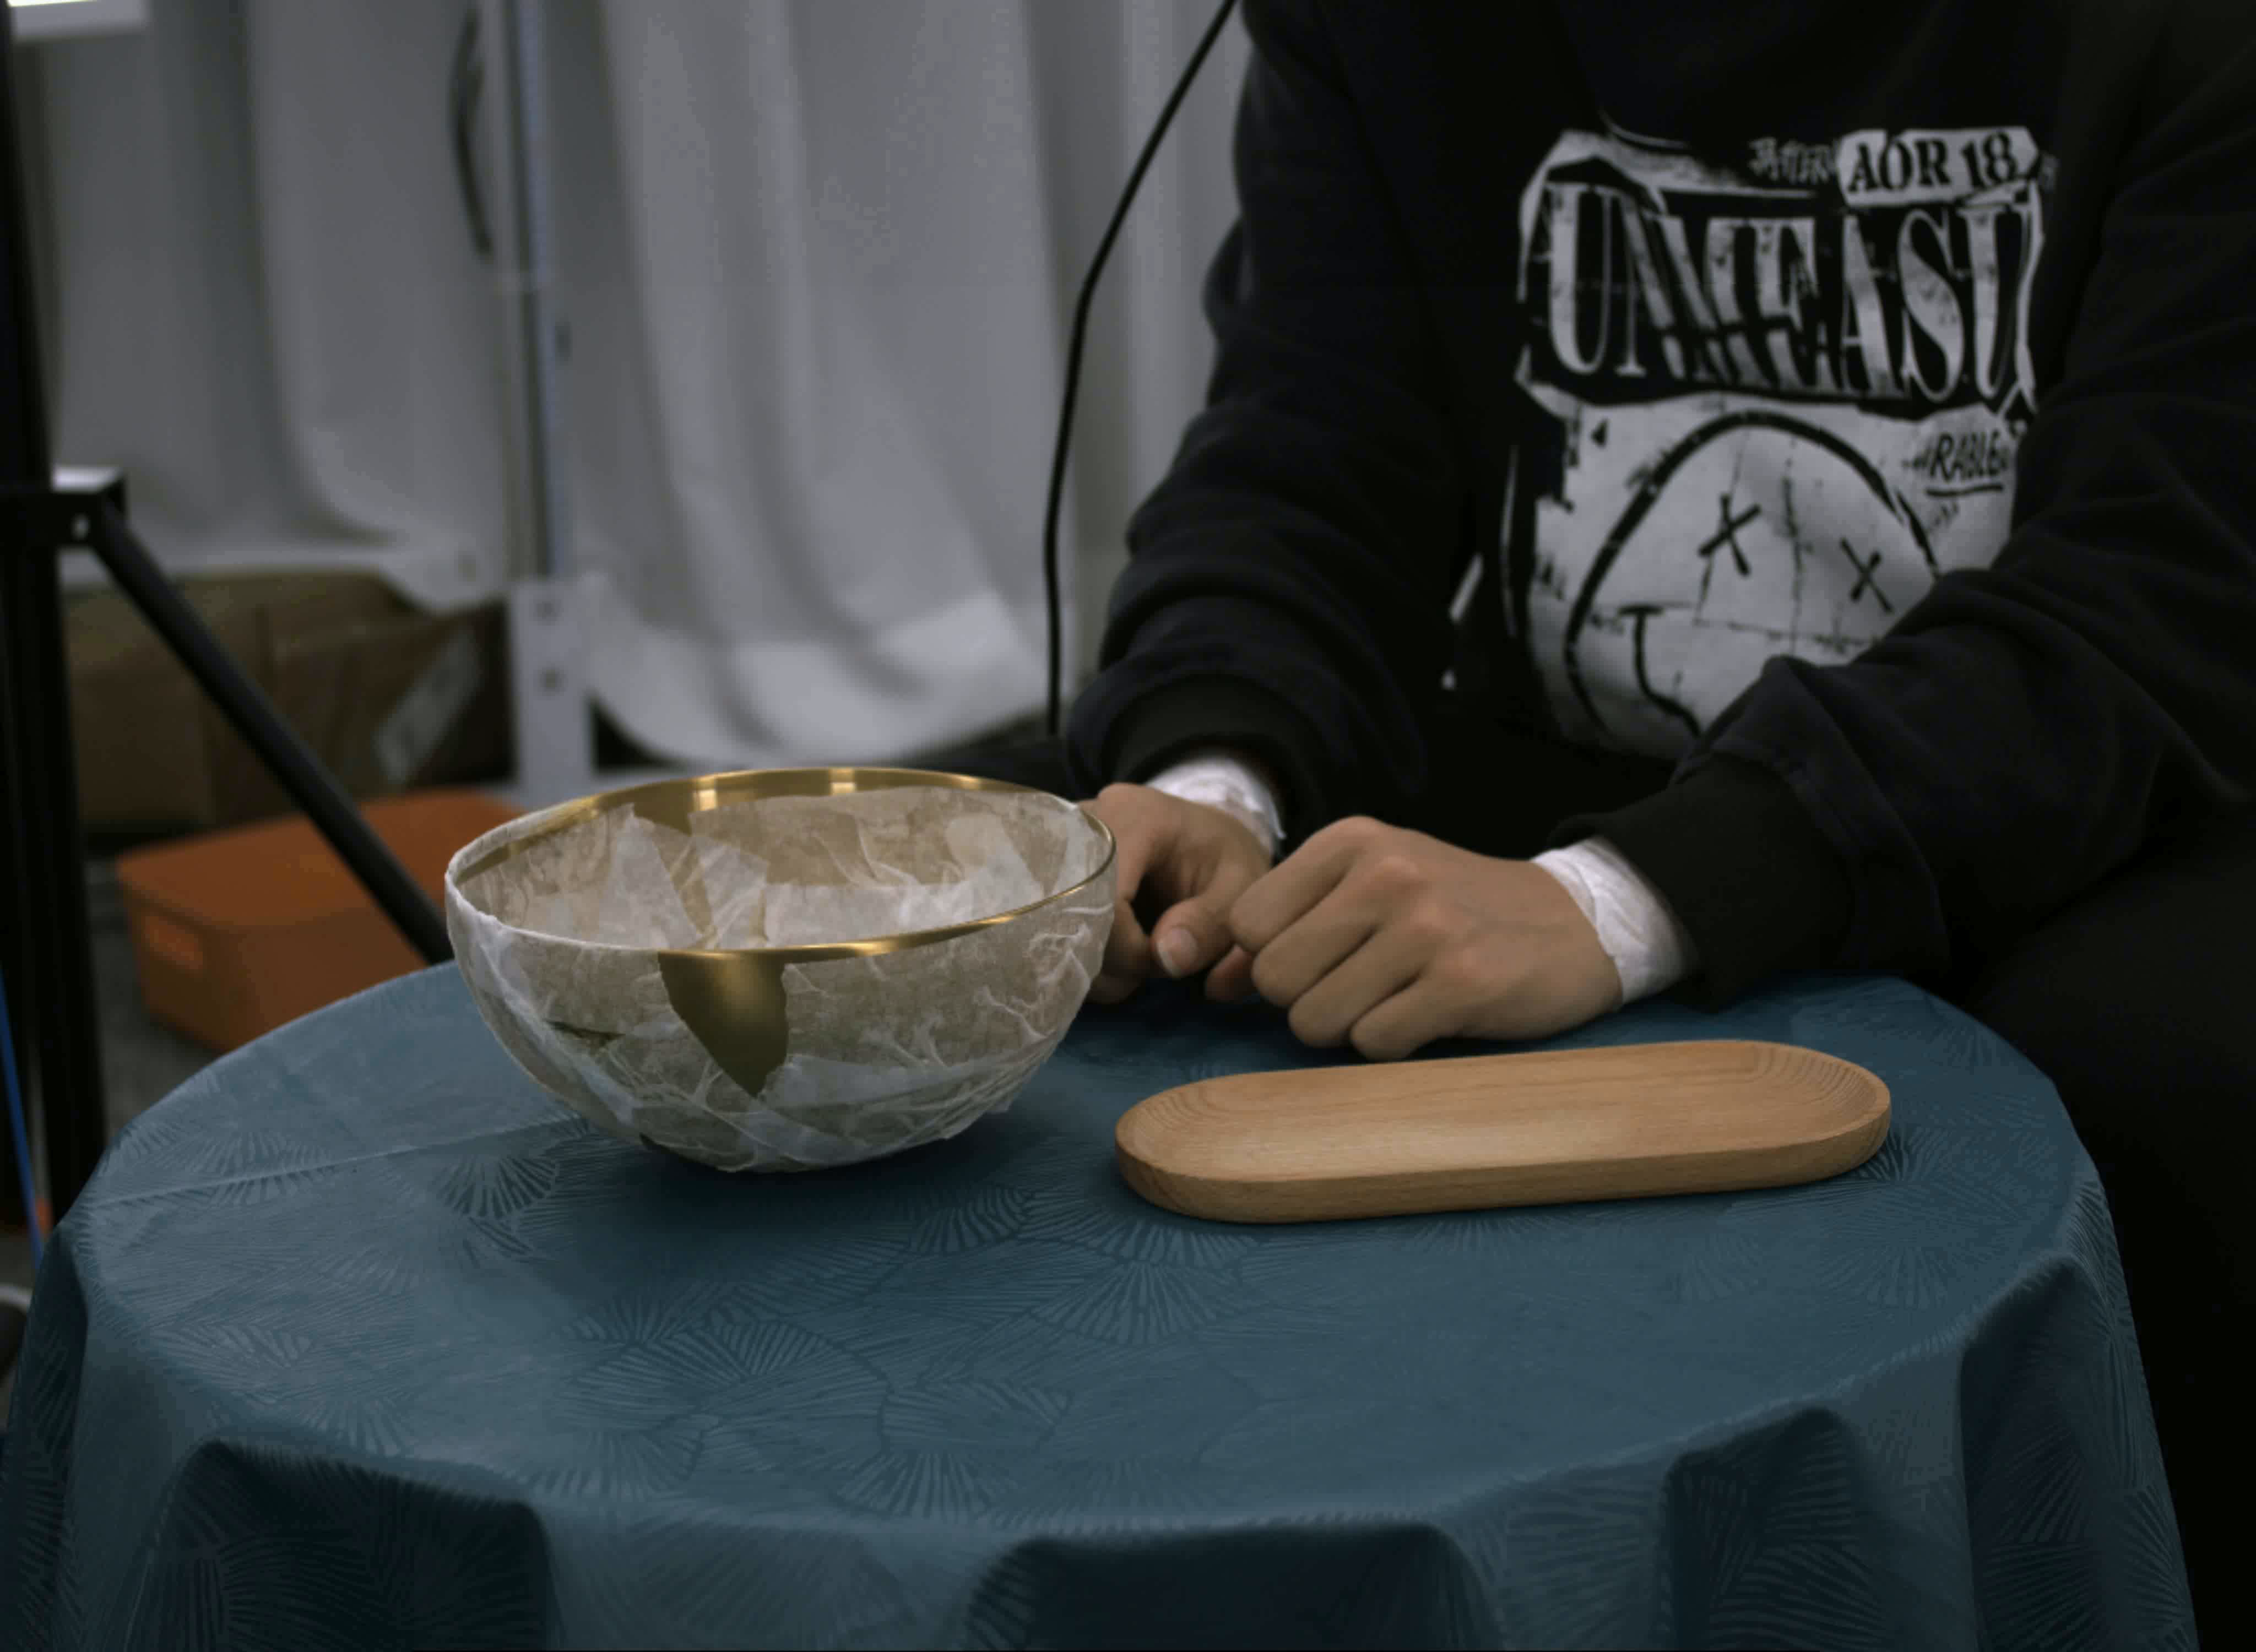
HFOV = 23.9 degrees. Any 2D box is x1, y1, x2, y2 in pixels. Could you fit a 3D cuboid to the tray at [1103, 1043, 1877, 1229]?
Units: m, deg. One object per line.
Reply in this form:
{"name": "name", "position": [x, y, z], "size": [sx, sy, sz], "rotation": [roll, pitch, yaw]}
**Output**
{"name": "tray", "position": [0.108, 0.092, 1.568], "size": [0.229, 0.020, 0.102], "rotation": [-6, 14, -4]}

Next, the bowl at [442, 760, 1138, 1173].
{"name": "bowl", "position": [-0.098, 0.051, 1.608], "size": [0.213, 0.094, 0.216], "rotation": [-3, 14, -1]}
